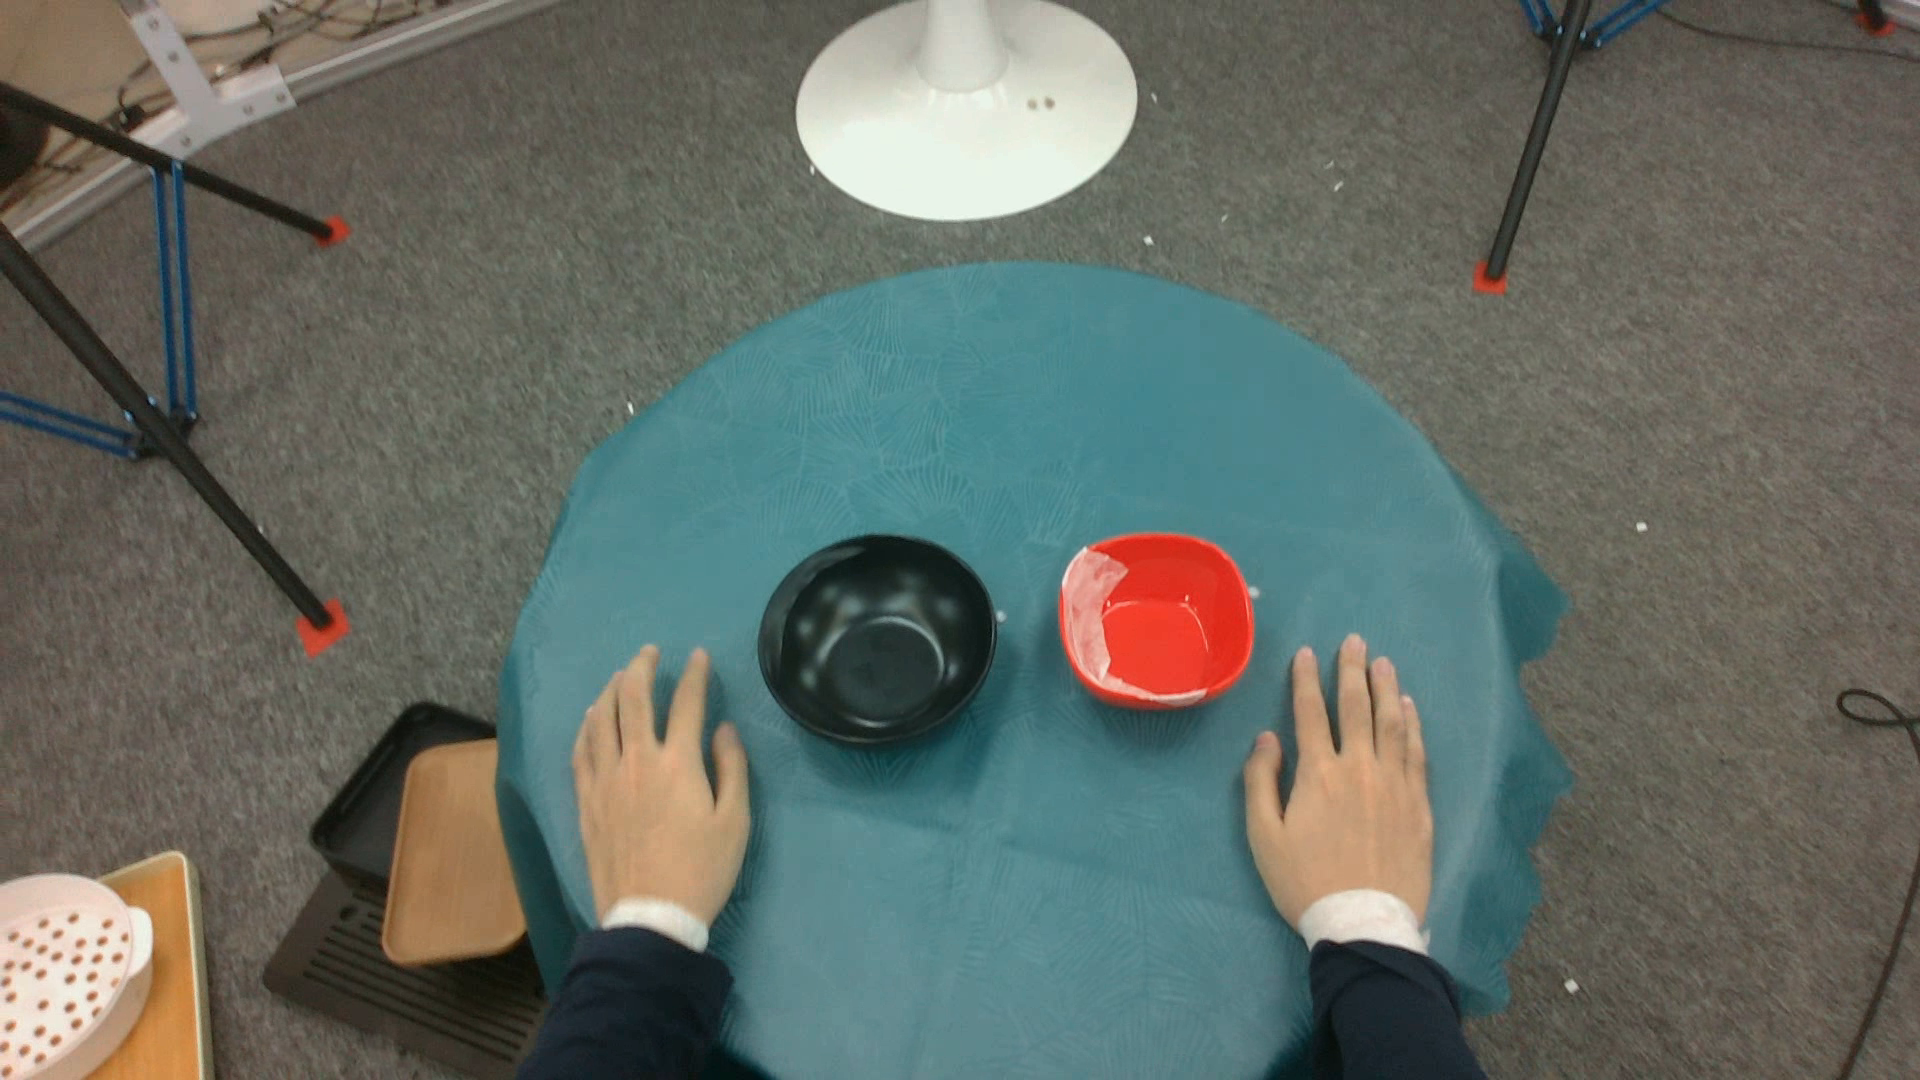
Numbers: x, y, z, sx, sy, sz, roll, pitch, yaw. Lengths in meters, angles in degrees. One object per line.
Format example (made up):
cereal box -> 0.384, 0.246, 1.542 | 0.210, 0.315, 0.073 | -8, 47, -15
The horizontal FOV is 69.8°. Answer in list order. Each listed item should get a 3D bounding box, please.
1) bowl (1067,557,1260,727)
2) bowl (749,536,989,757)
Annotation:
bowl -> 0.116, 0.068, 0.806 | 0.119, 0.051, 0.119 | 2, 49, -2
bowl -> -0.051, 0.069, 0.809 | 0.140, 0.049, 0.140 | -2, 58, 3
